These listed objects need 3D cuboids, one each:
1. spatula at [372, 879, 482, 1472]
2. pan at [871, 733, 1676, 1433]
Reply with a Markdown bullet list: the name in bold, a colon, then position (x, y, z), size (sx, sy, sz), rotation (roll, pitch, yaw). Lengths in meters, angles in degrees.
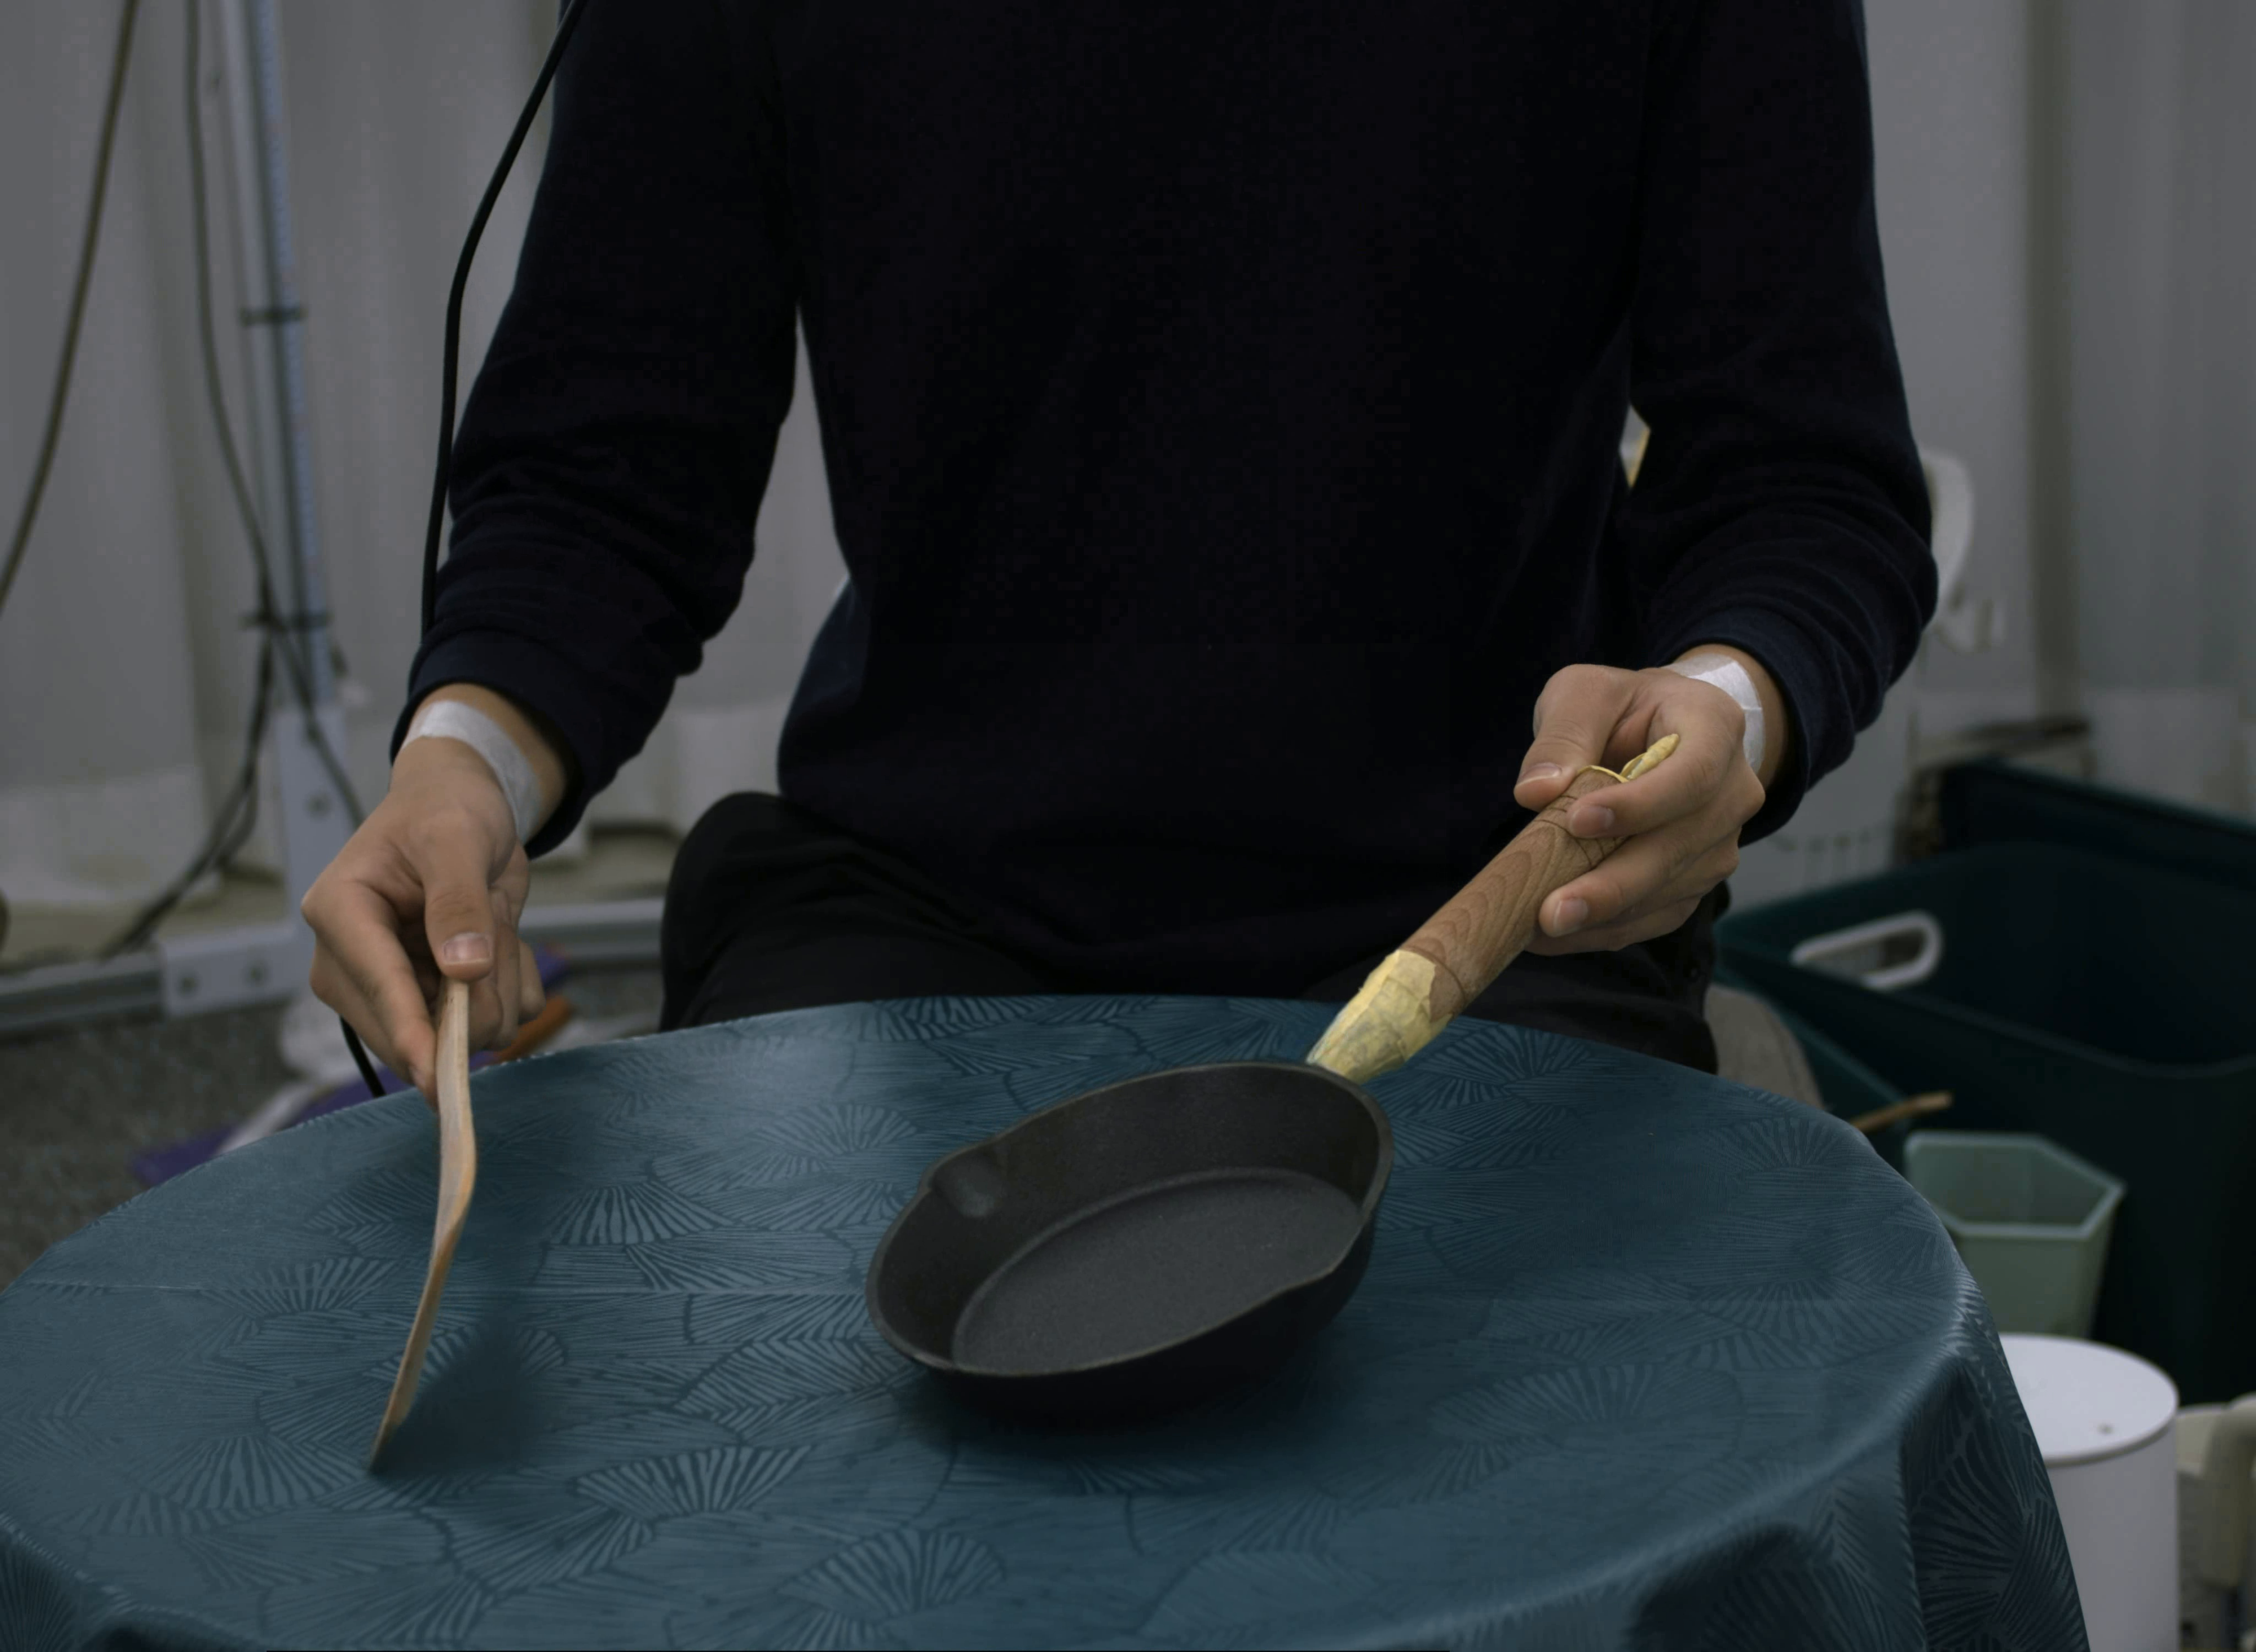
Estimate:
- **spatula**: position (-0.206, 0.086, 1.647), size (0.016, 0.079, 0.331), rotation (15, 20, -12)
- **pan**: position (0.061, 0.073, 1.594), size (0.325, 0.049, 0.170), rotation (-37, 30, -30)
